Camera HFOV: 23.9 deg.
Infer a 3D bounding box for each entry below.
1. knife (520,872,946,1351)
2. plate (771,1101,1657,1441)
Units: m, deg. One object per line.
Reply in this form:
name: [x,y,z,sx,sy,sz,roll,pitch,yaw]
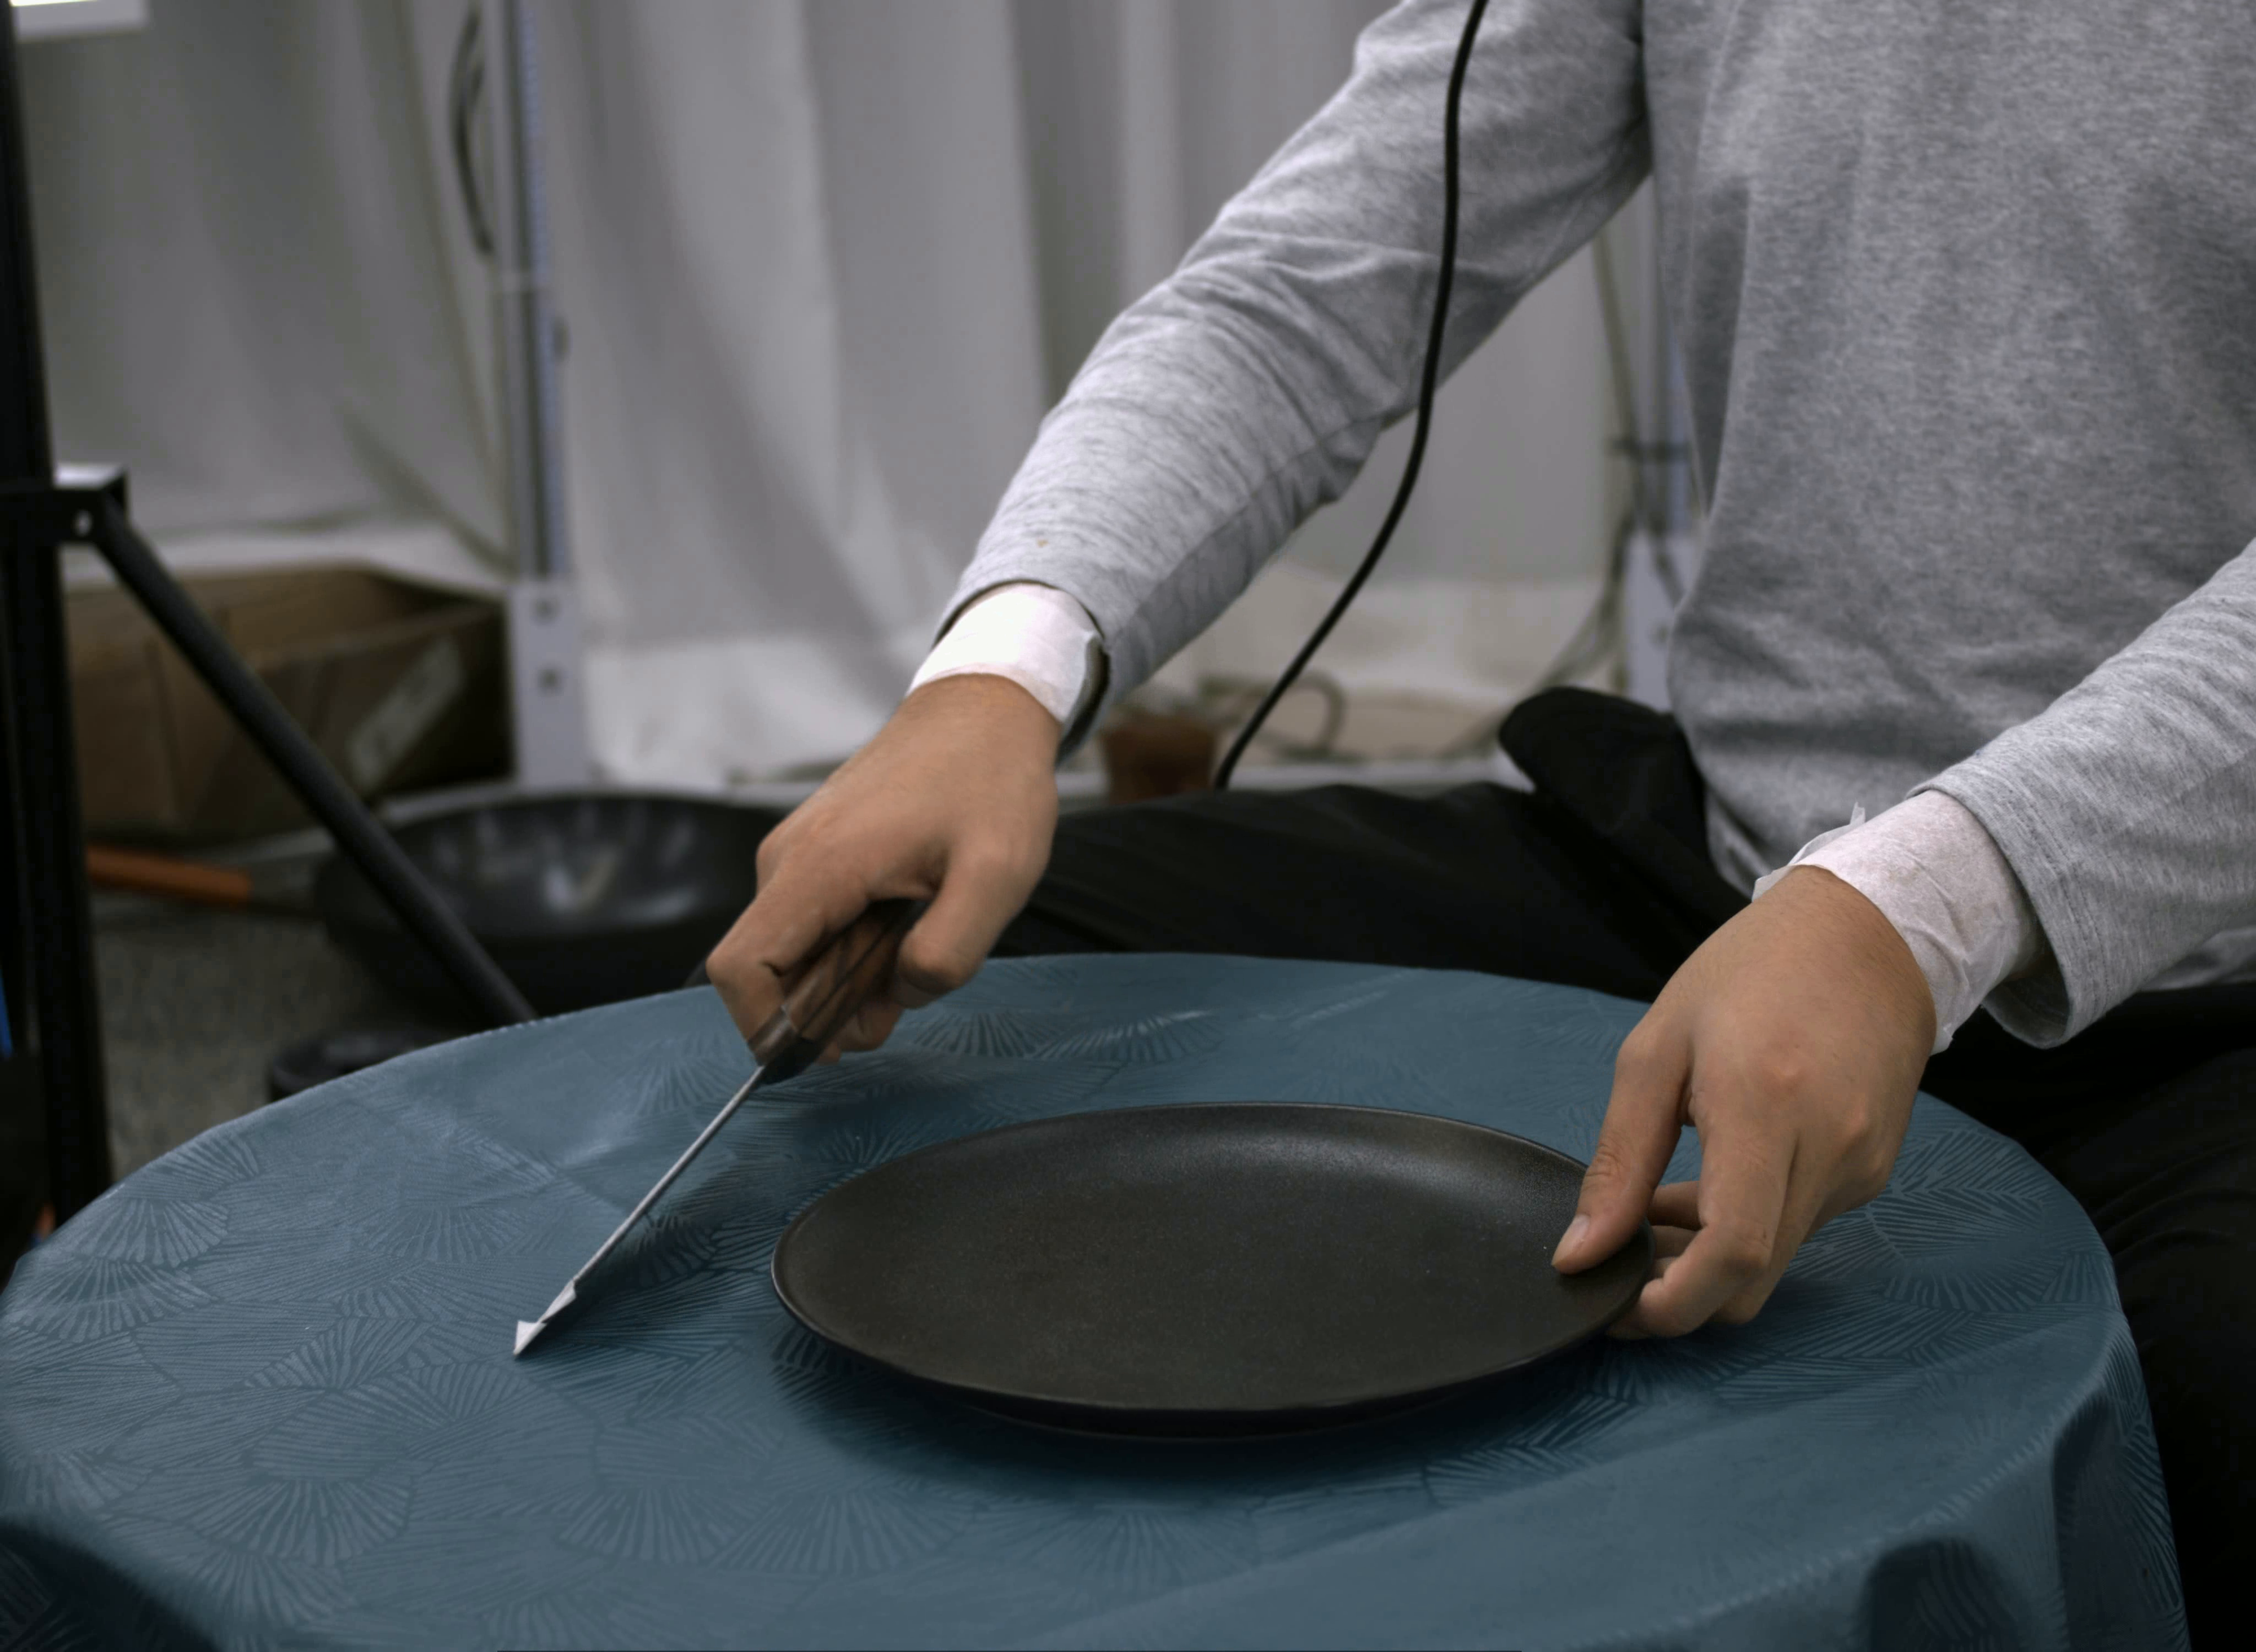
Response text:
knife: [-0.114,0.082,1.571,0.020,0.051,0.286,42,33,-2]
plate: [0.024,0.125,1.457,0.243,0.023,0.245,-3,16,-1]
